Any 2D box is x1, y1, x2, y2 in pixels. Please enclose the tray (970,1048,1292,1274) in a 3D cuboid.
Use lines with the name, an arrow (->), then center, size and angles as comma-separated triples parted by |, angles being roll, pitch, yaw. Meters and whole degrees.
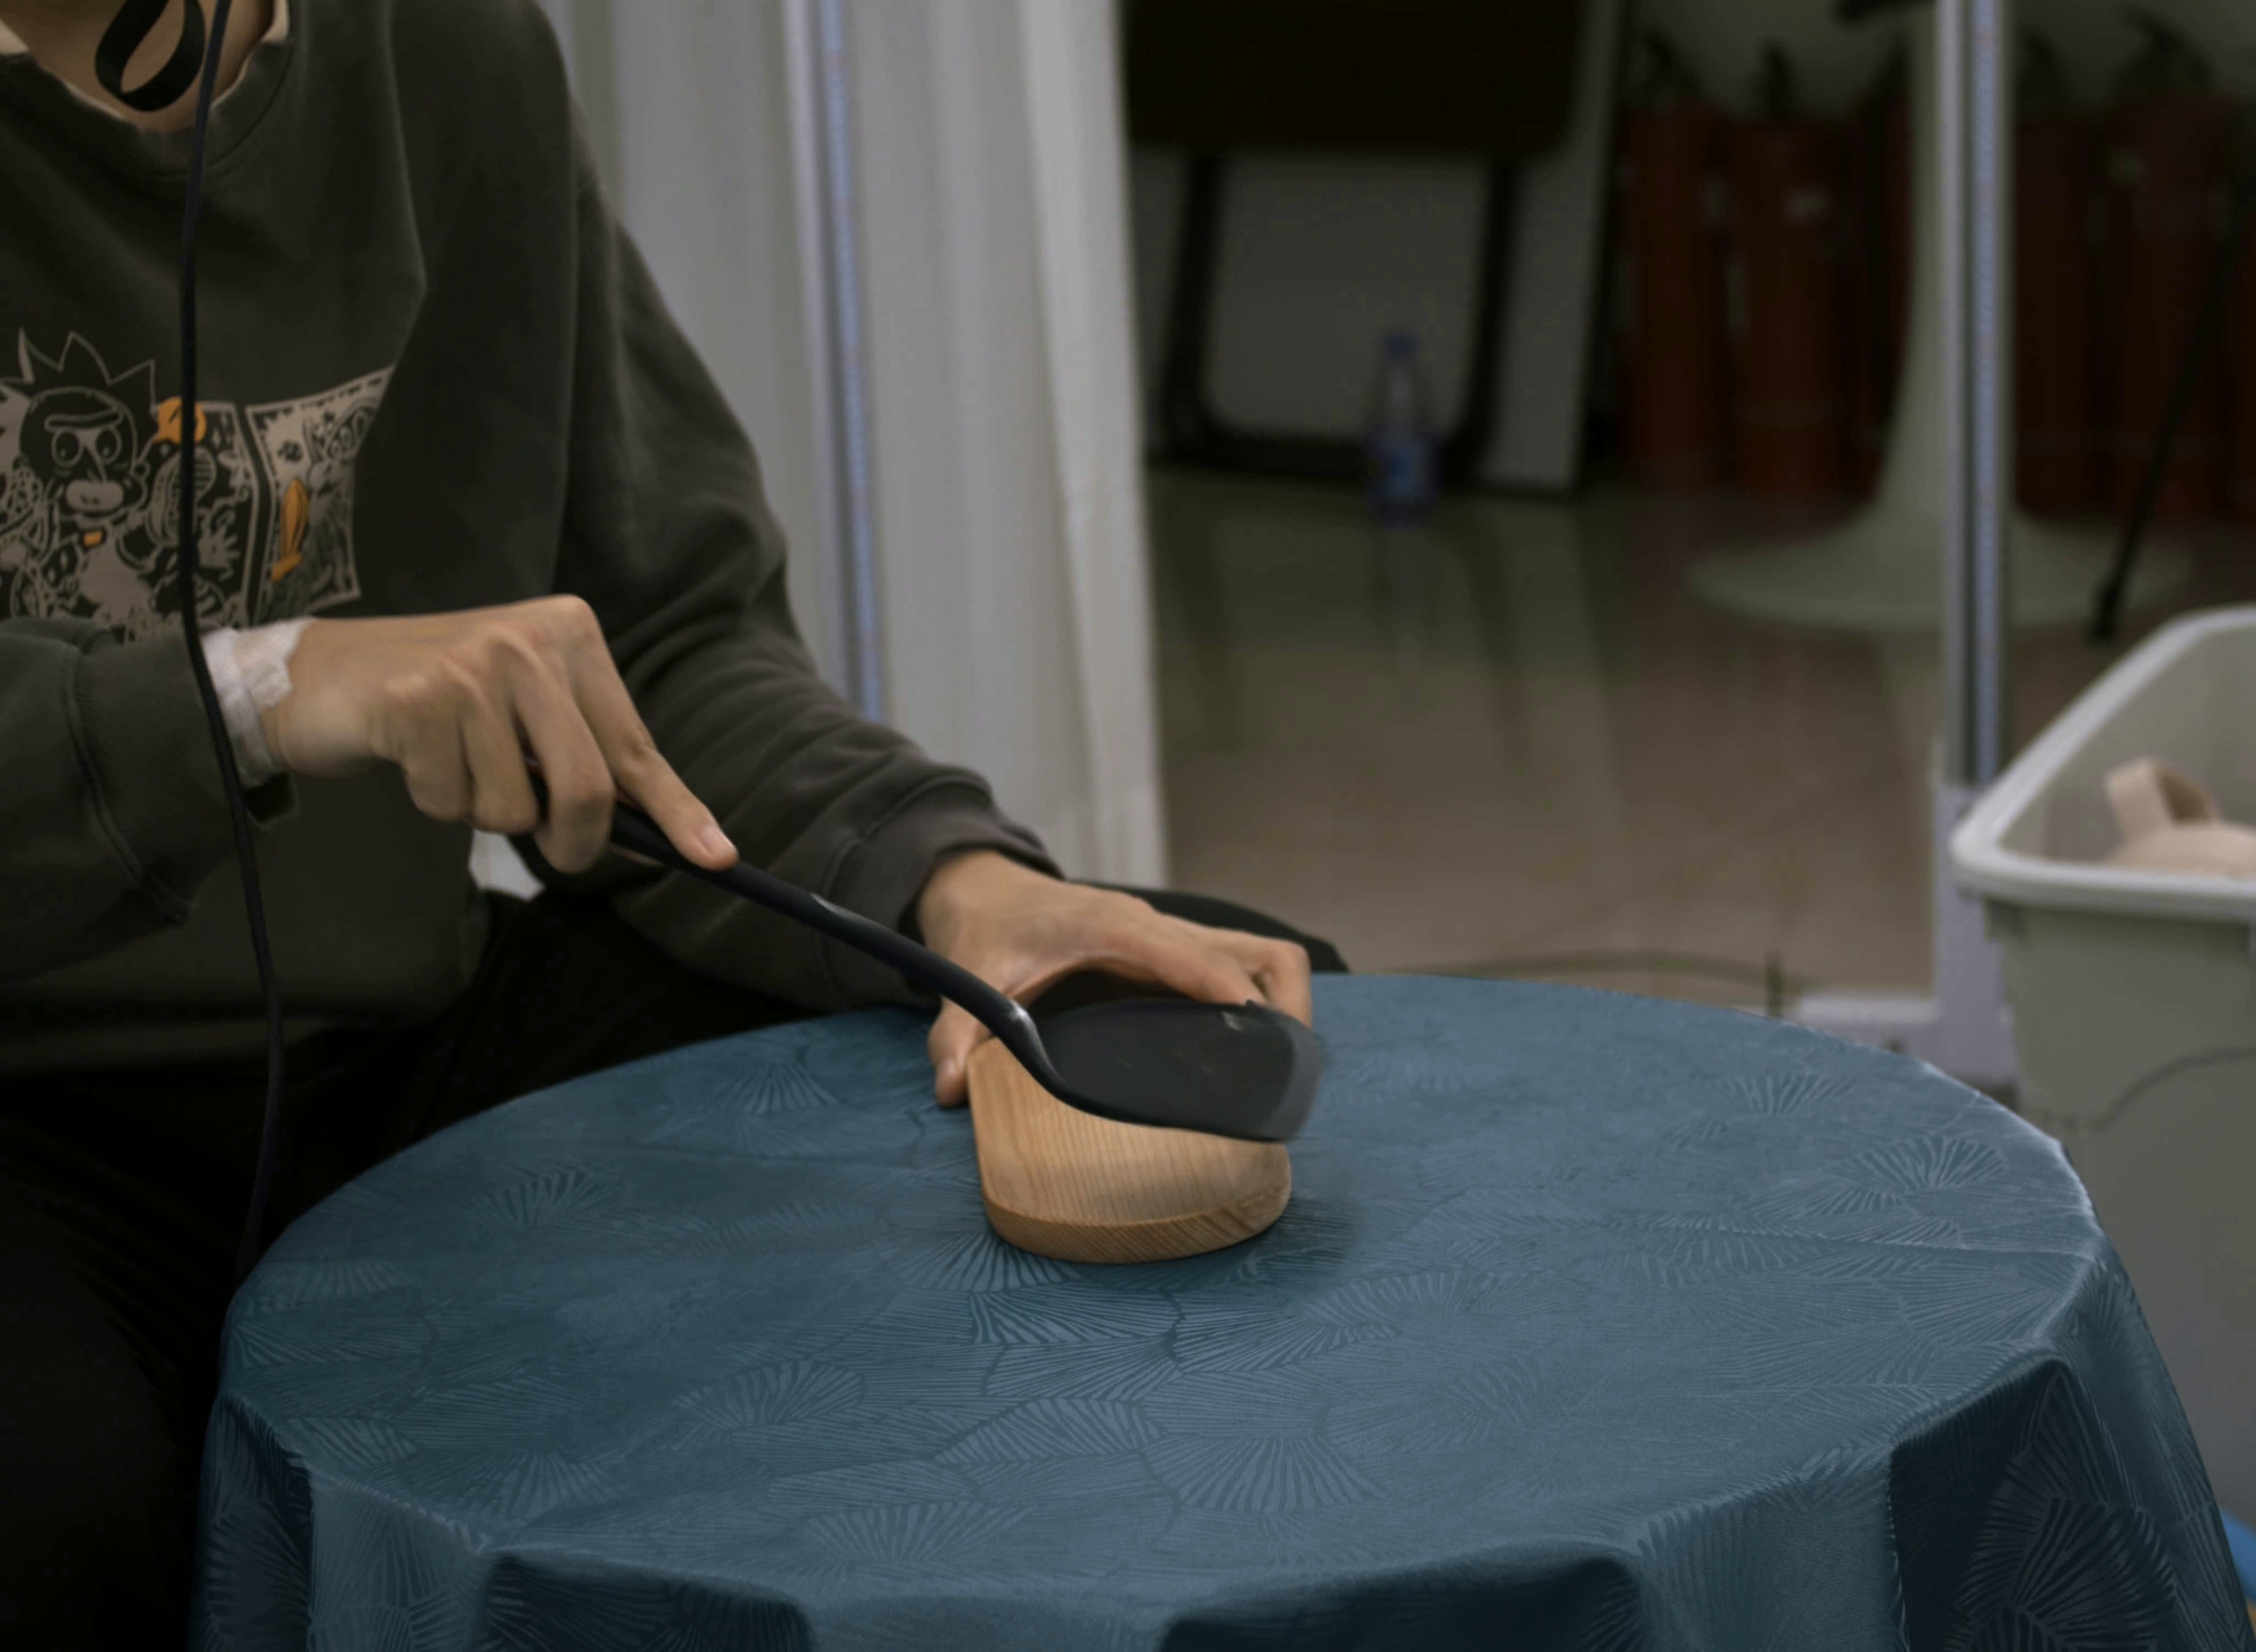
tray -> 0.000, 0.107, 1.803 | 0.100, 0.020, 0.232 | -6, 15, -2

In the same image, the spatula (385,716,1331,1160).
spatula -> -0.087, 0.030, 1.724 | 0.323, 0.041, 0.099 | 28, 20, -2
